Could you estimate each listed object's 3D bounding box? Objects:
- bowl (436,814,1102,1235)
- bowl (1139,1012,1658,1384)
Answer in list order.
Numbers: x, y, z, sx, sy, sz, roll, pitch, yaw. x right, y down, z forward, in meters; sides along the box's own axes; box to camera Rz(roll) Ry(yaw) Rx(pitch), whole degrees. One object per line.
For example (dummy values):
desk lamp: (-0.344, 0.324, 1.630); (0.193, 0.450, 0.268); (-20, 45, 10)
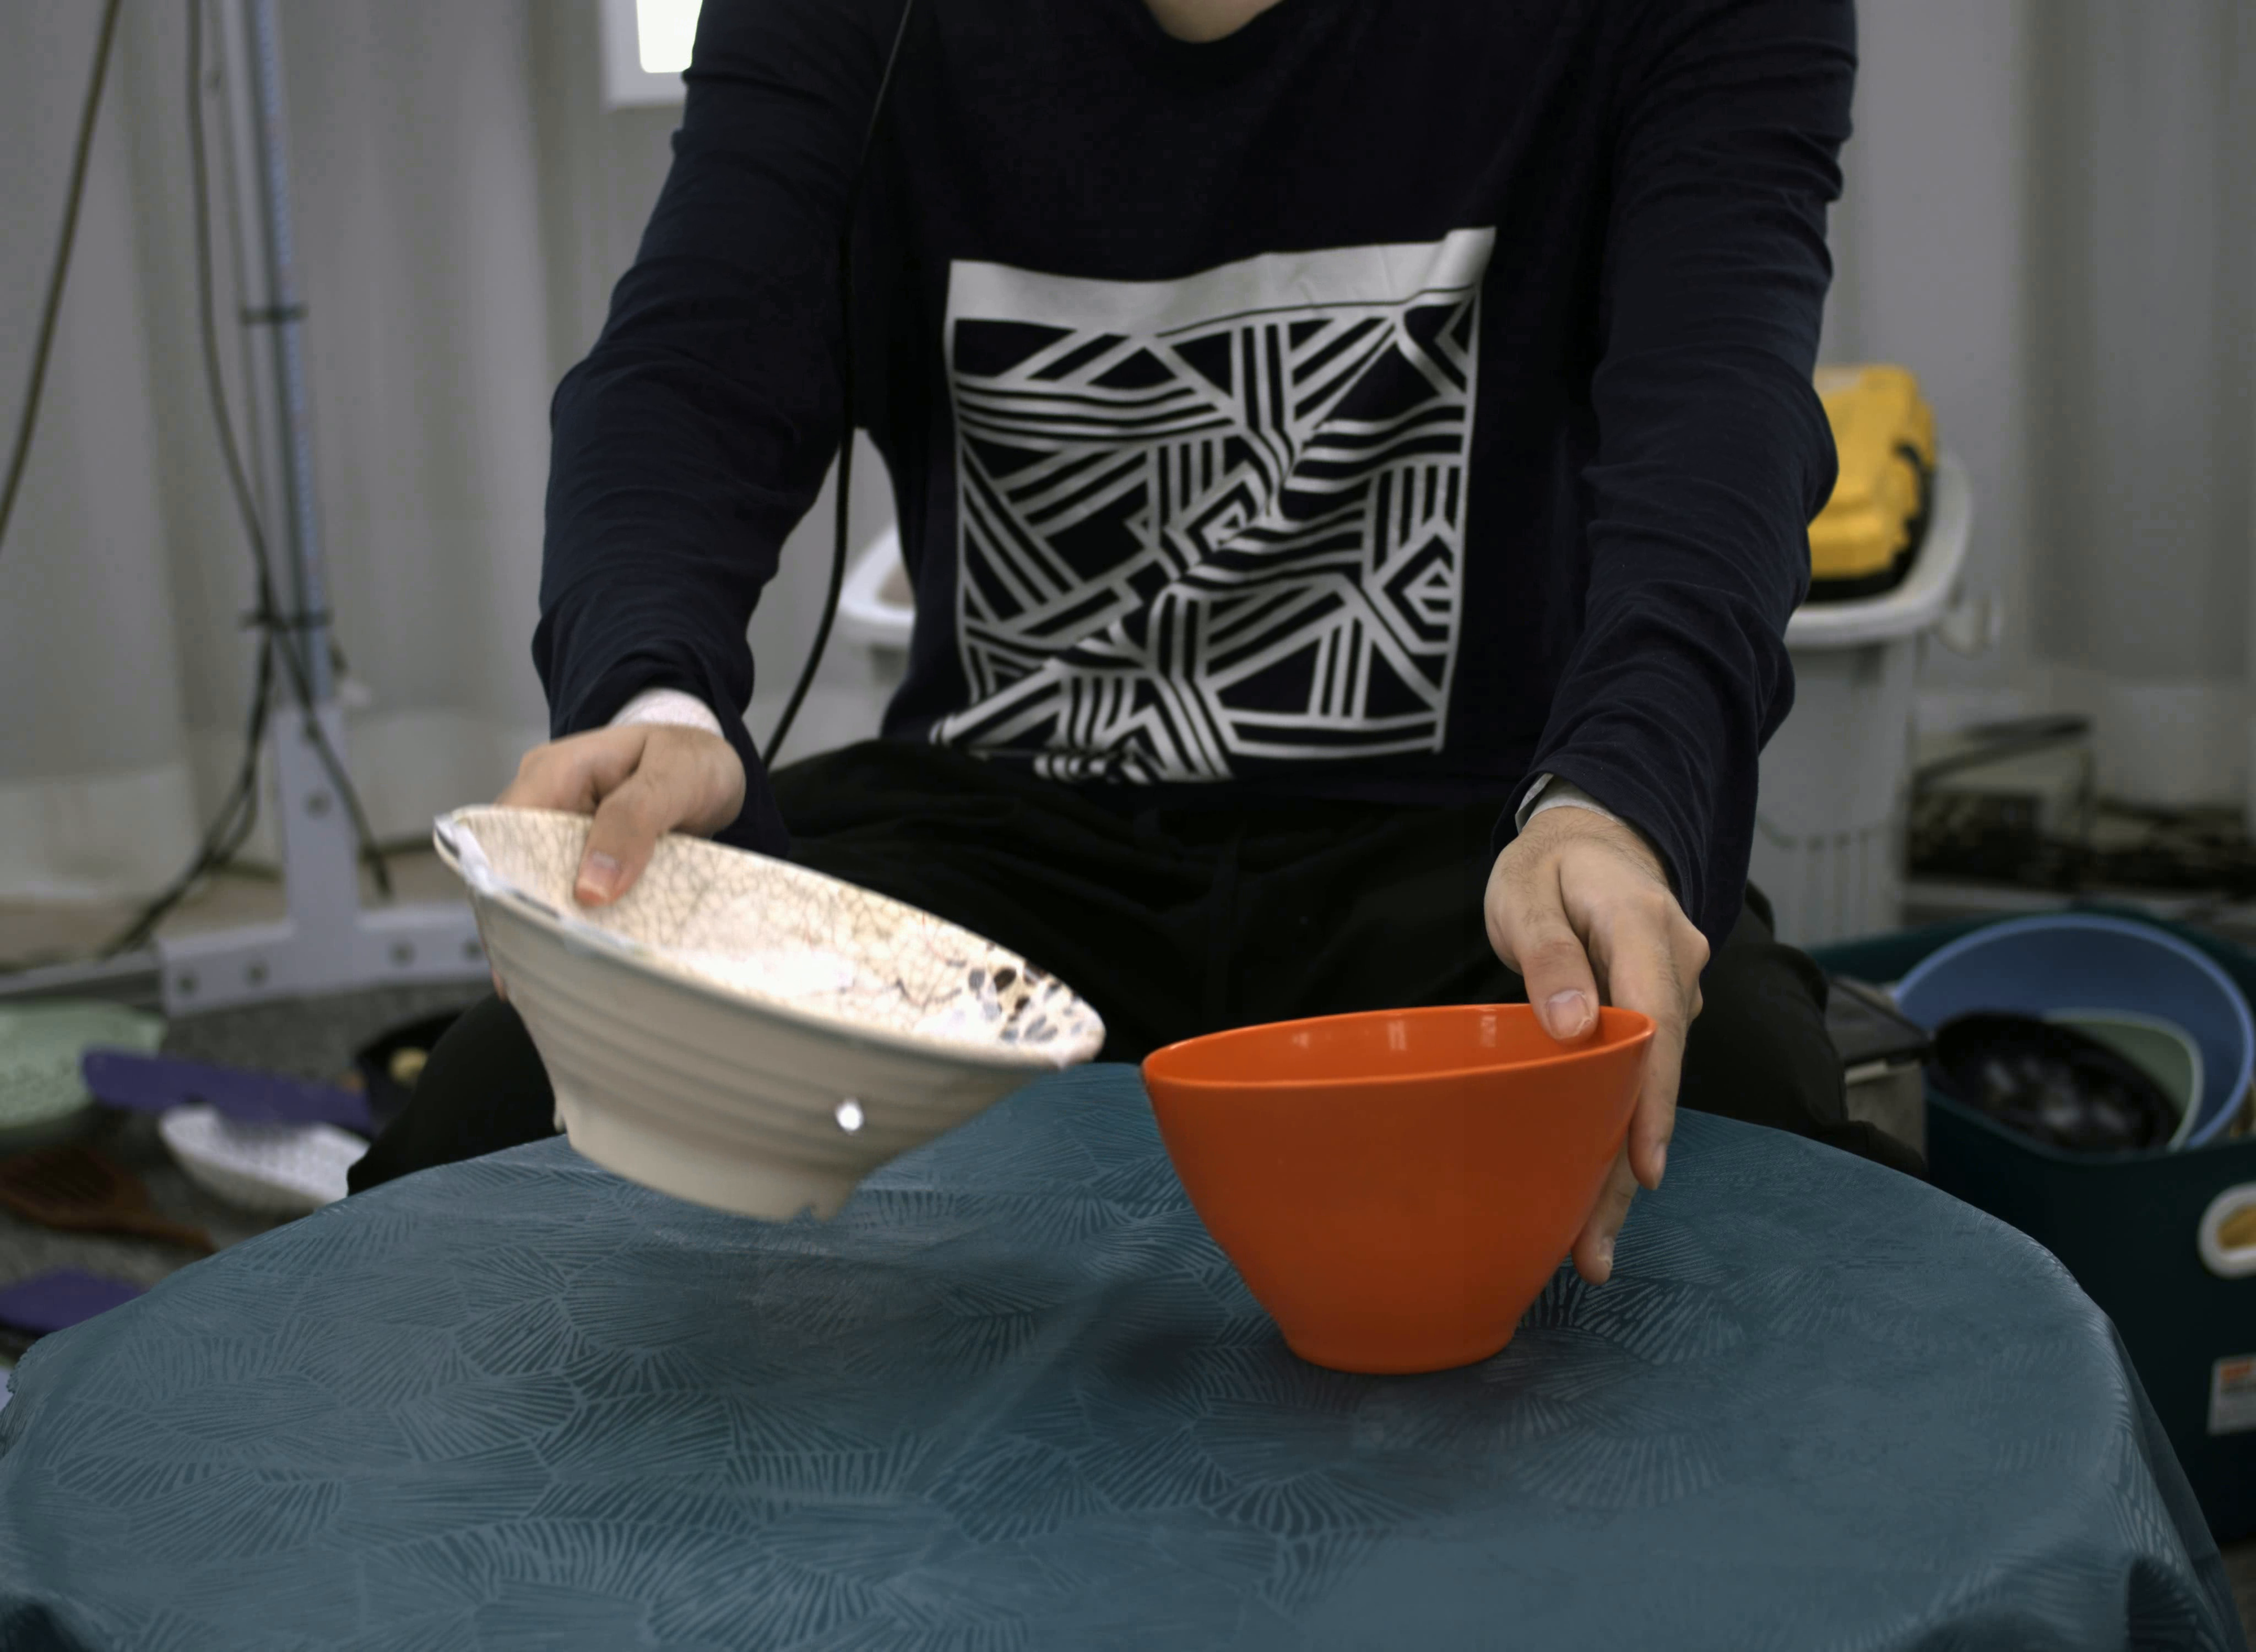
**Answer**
bowl: (-0.115, 0.067, 1.589); (0.203, 0.078, 0.205); (19, 8, -3)
bowl: (0.078, 0.103, 1.556); (0.147, 0.104, 0.149); (-3, 12, 0)
